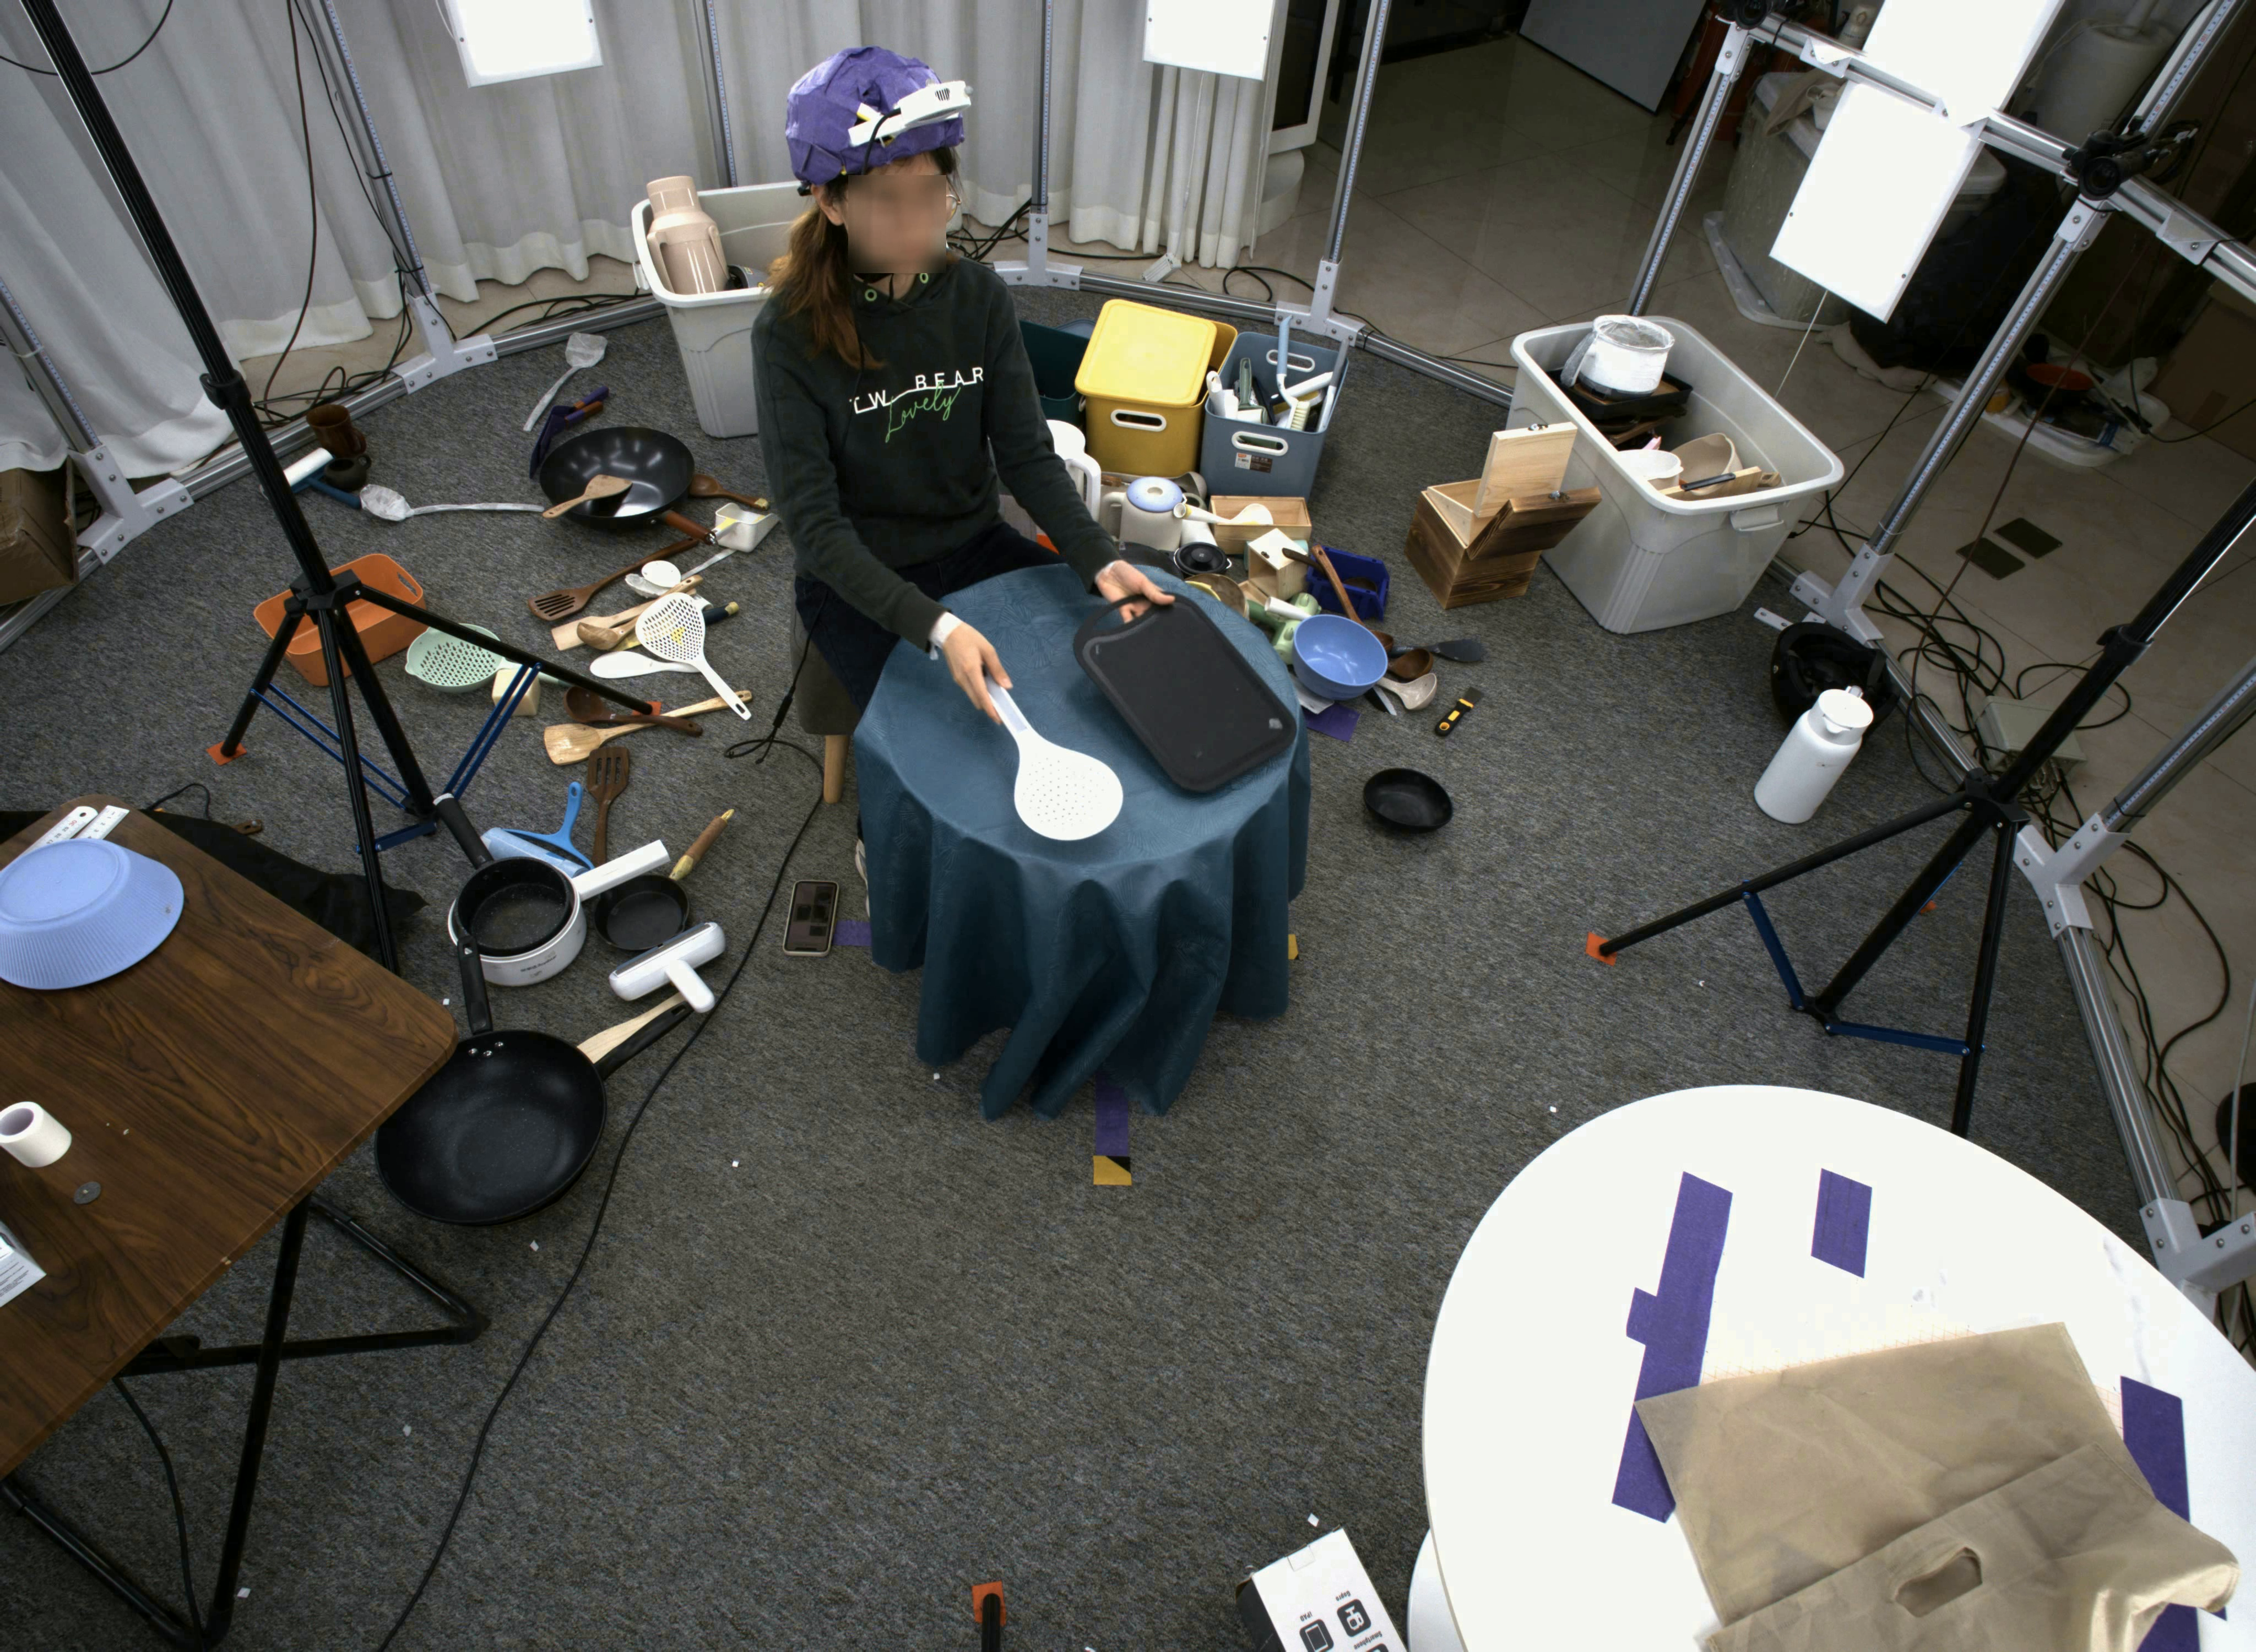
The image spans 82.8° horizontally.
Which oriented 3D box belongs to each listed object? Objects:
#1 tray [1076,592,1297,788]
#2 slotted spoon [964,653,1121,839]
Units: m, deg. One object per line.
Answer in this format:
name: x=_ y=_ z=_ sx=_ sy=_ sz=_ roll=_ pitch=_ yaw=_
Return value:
tray: x=0.075 y=-0.202 z=1.797 sx=0.212 sy=0.009 sz=0.330 roll=-28 pitch=66 yaw=-23
slotted spoon: x=-0.131 y=-0.111 z=1.696 sx=0.136 sy=0.045 sz=0.356 roll=-24 pitch=60 yaw=-17
